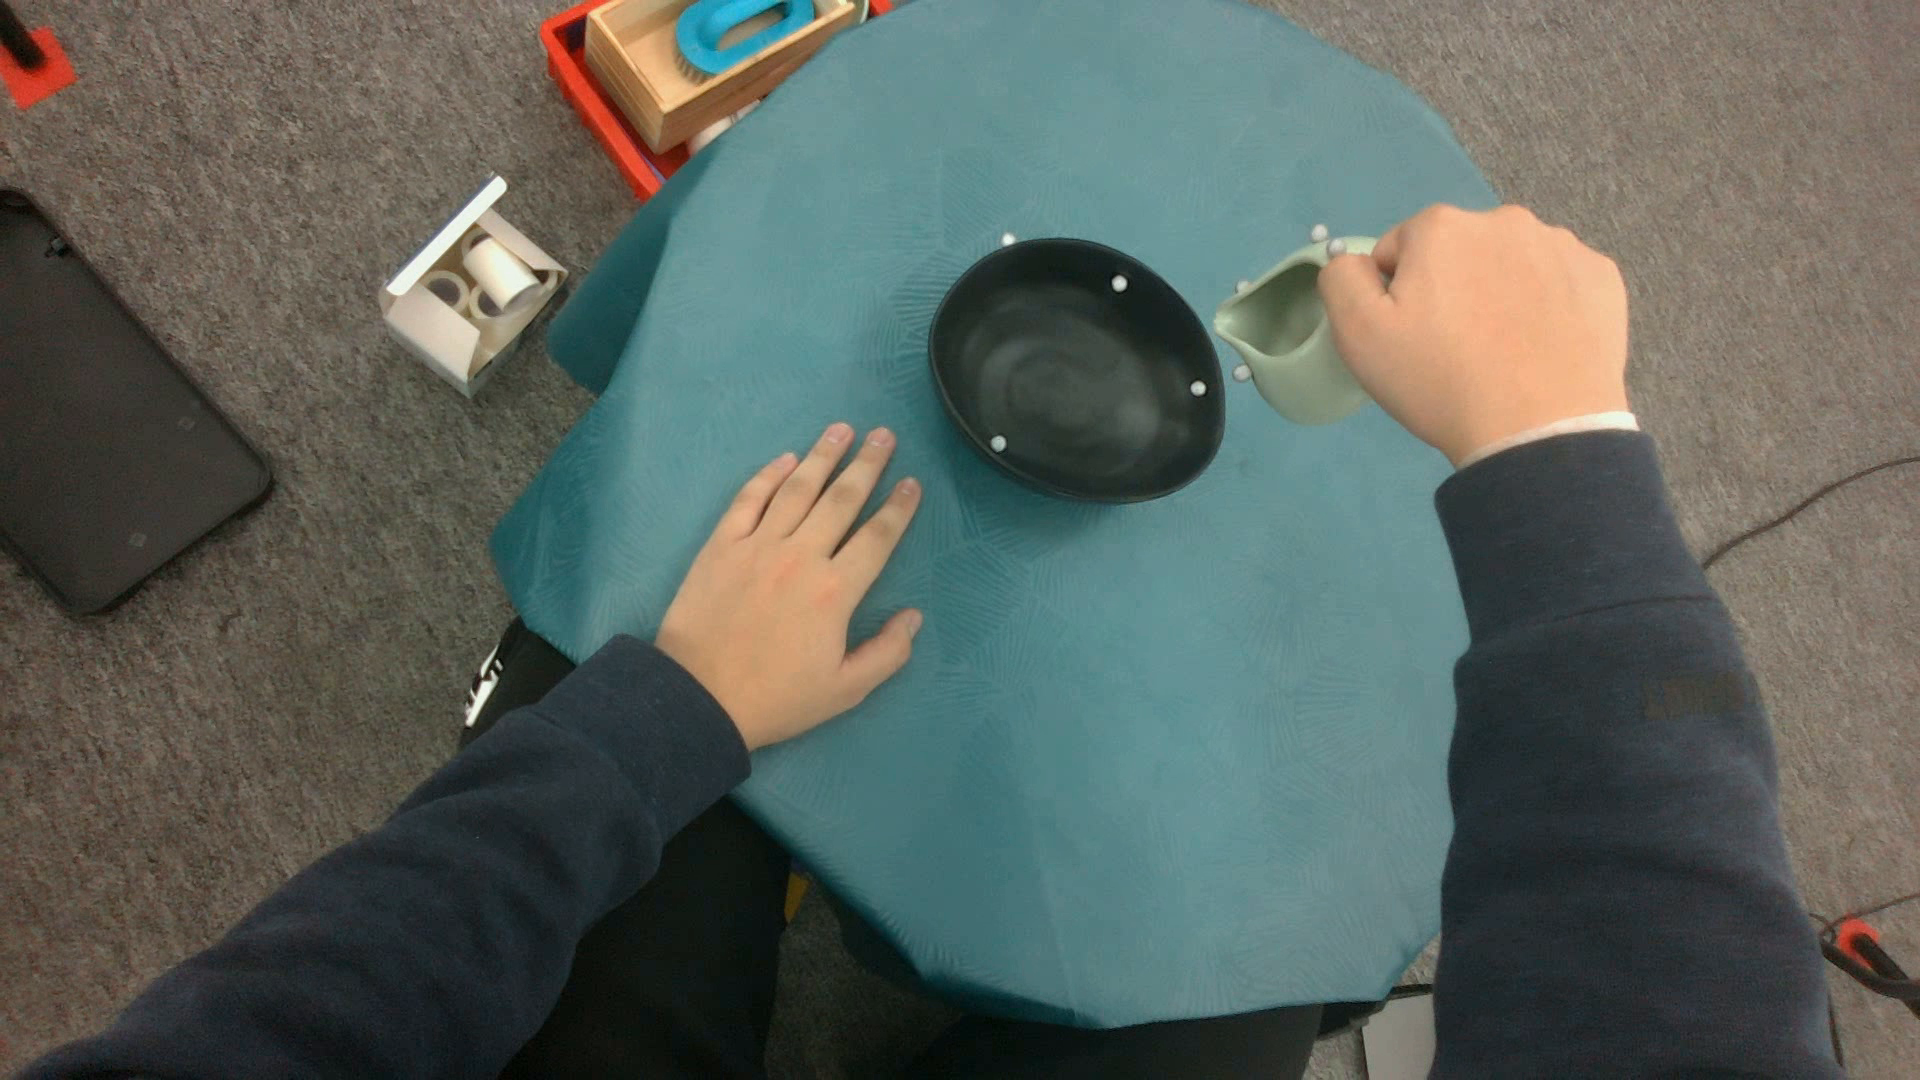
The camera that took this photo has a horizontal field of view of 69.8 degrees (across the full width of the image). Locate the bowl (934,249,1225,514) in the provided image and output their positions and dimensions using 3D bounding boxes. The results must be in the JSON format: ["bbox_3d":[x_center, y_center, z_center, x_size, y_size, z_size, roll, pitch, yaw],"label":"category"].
[{"bbox_3d":[0.061,-0.079,0.744,0.170,0.066,0.137,18,76,-13],"label":"bowl"}]

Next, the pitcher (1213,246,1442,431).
[{"bbox_3d":[0.169,-0.094,0.609,0.060,0.107,0.086,18,76,-32],"label":"pitcher"}]
